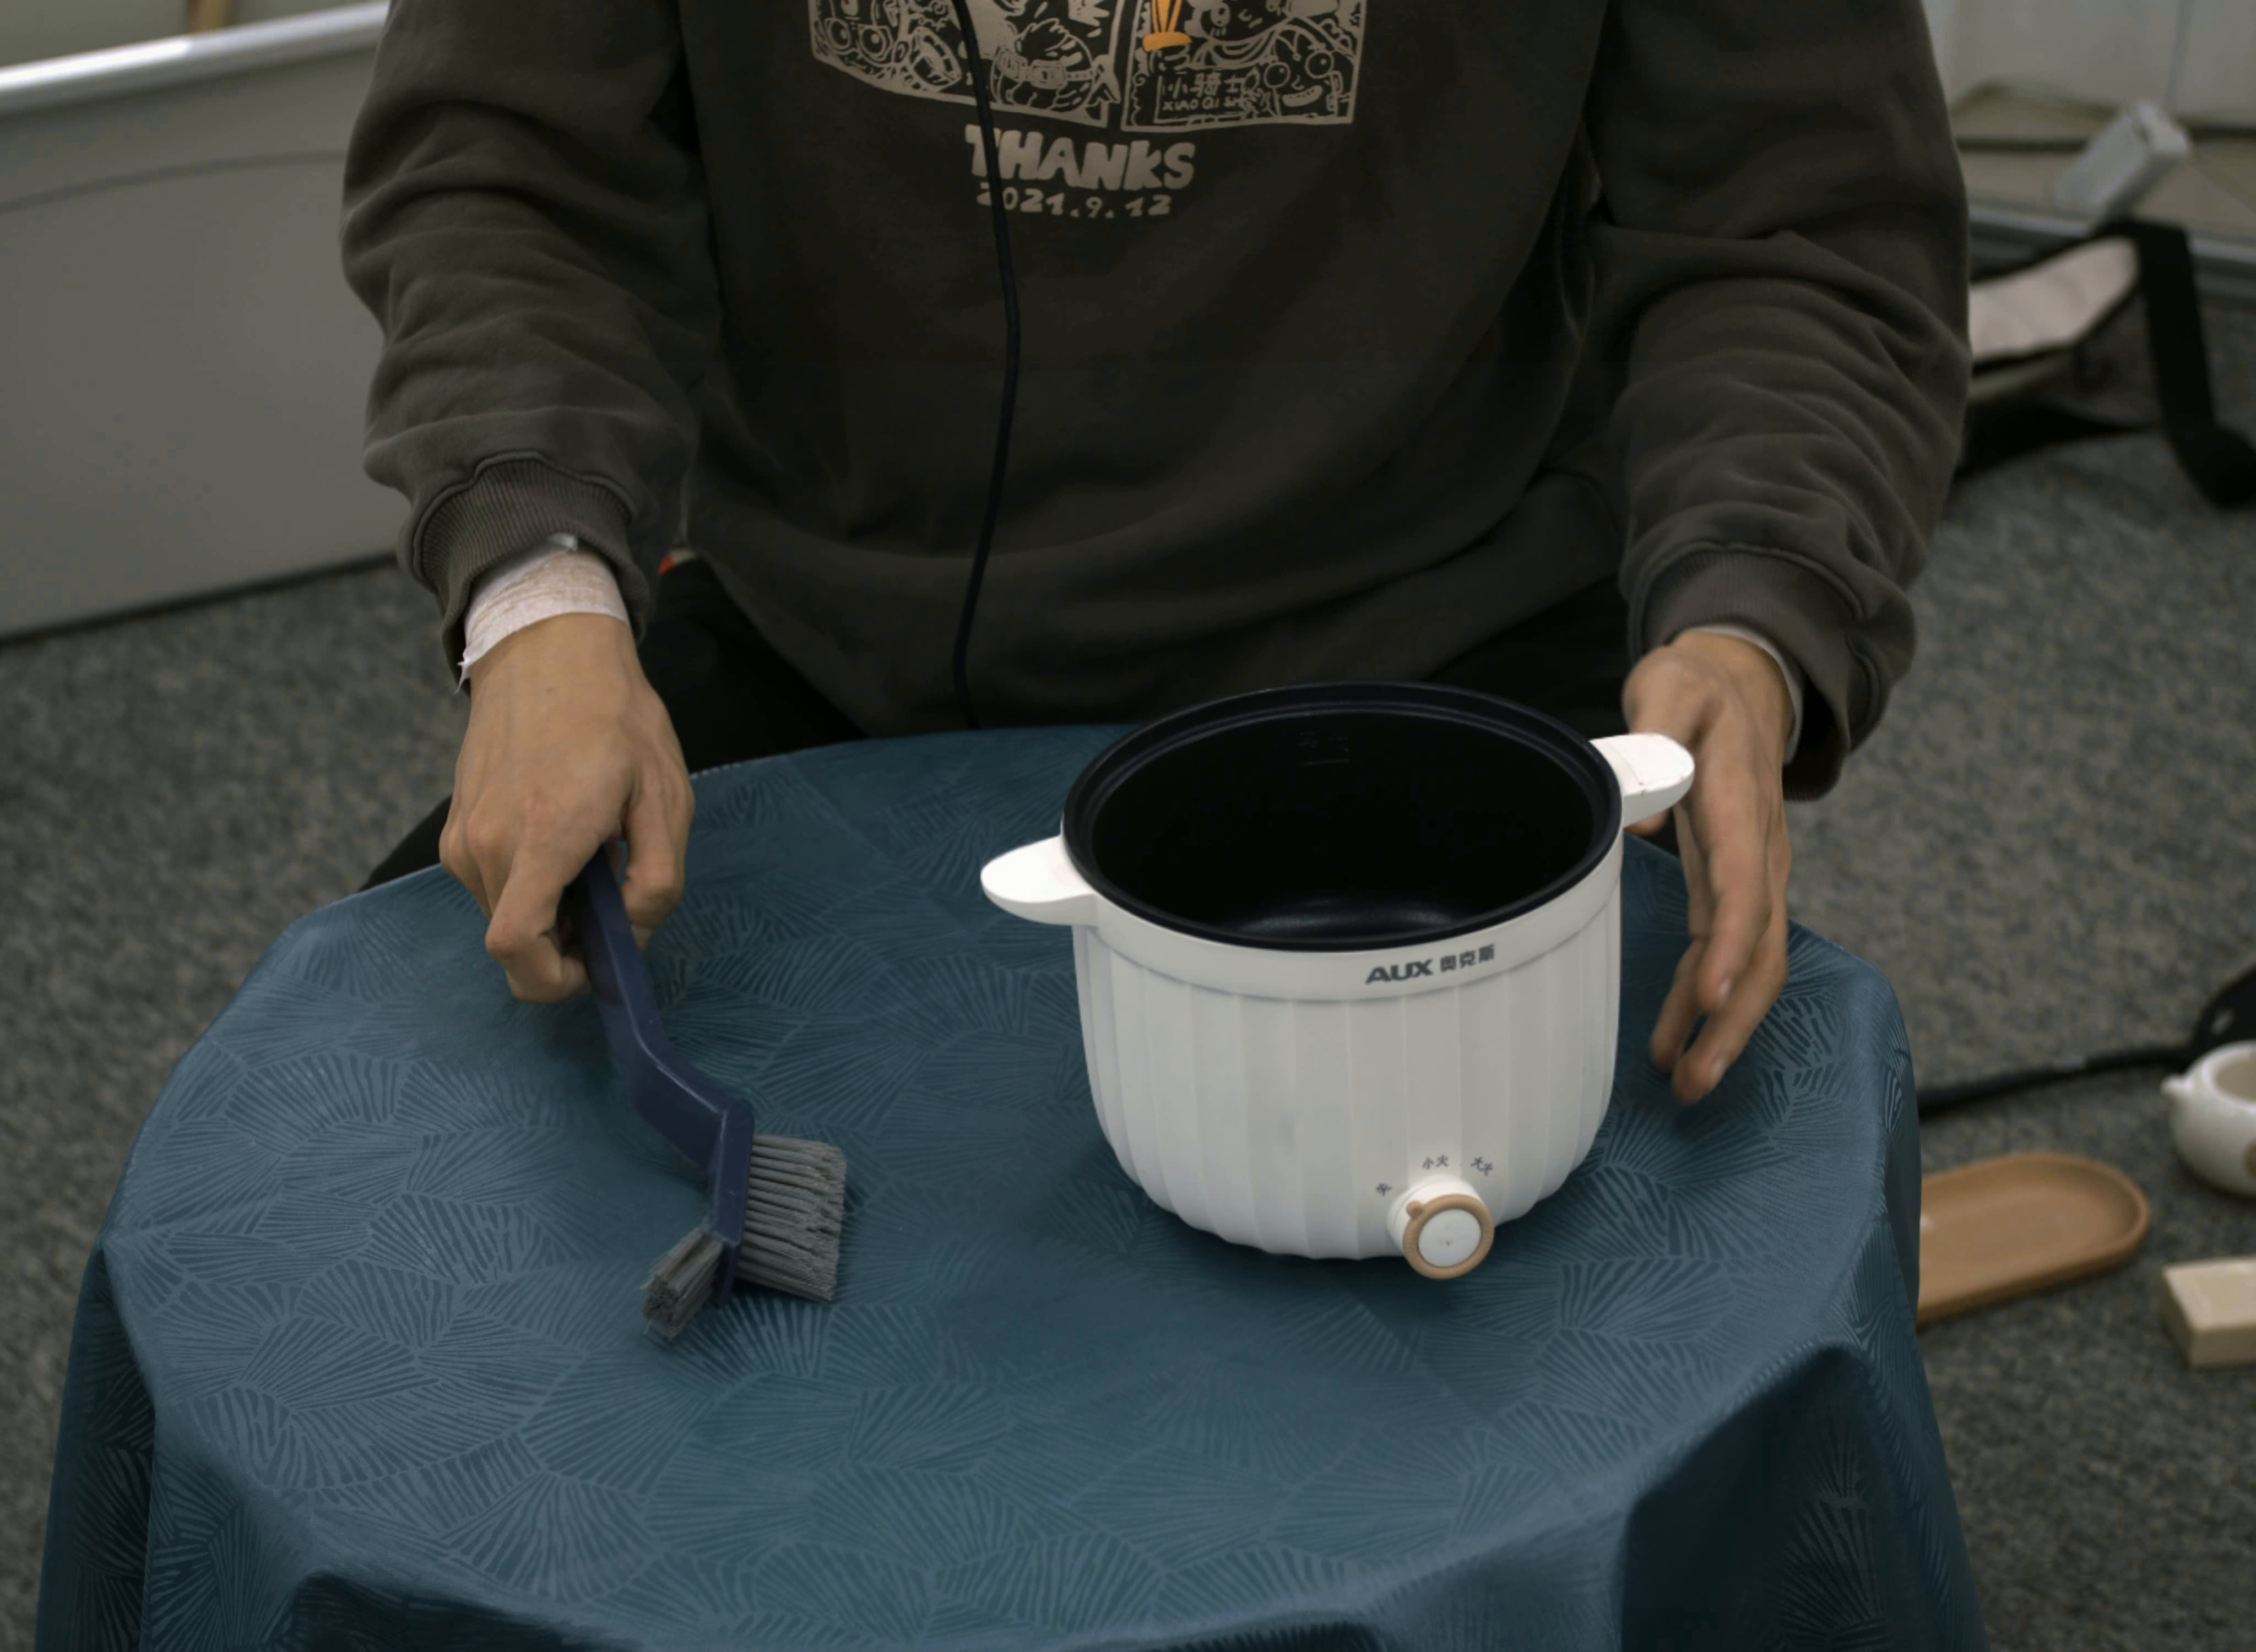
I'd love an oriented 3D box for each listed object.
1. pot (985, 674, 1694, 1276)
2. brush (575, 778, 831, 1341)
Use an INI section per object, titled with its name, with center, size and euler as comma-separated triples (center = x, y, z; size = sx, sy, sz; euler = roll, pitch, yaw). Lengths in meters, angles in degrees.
[pot]
center = 0.076, 0.053, 1.836
size = 0.240, 0.141, 0.192
euler = -11, 25, -13
[brush]
center = -0.169, 0.075, 1.897
size = 0.096, 0.033, 0.276
euler = -3, 35, -25
